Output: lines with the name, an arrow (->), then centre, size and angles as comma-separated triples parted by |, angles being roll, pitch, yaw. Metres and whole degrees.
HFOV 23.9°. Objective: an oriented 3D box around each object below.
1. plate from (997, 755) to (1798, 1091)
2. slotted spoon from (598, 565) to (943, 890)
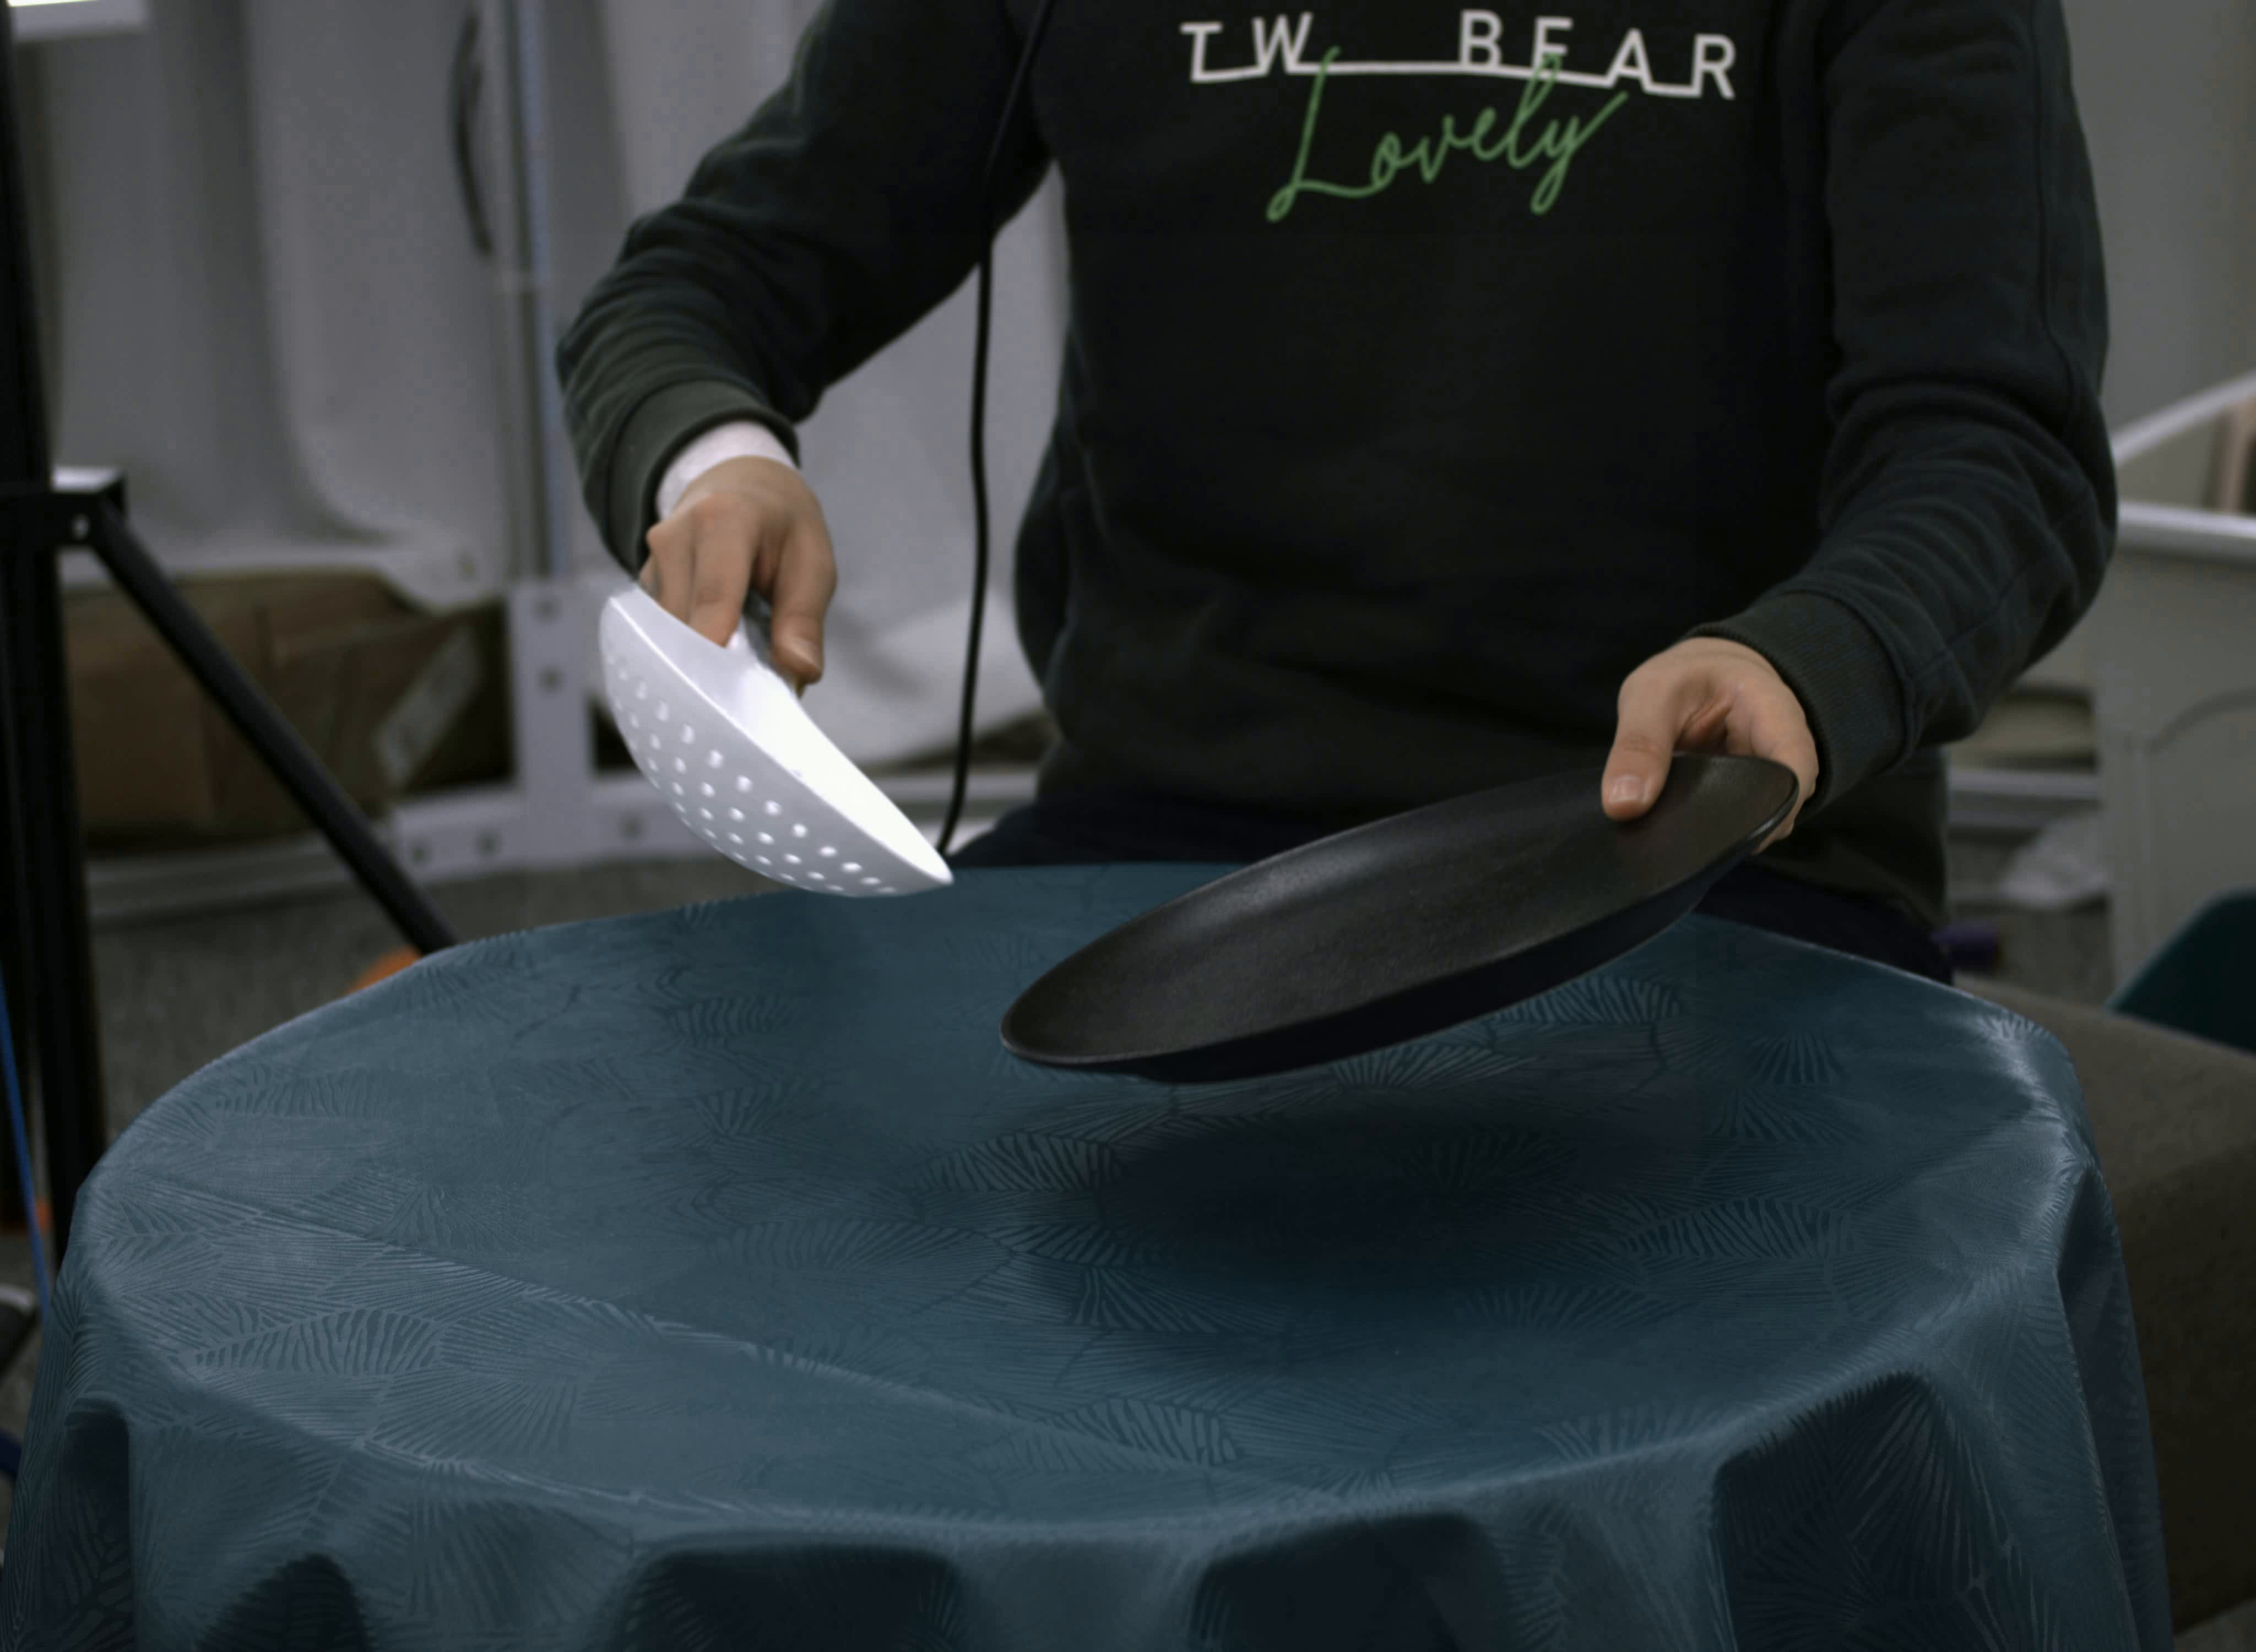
plate -> 0.080, 0.033, 1.540 | 0.244, 0.023, 0.245 | -19, 10, 2
slotted spoon -> -0.119, -0.043, 1.698 | 0.046, 0.135, 0.351 | -47, 9, 8
